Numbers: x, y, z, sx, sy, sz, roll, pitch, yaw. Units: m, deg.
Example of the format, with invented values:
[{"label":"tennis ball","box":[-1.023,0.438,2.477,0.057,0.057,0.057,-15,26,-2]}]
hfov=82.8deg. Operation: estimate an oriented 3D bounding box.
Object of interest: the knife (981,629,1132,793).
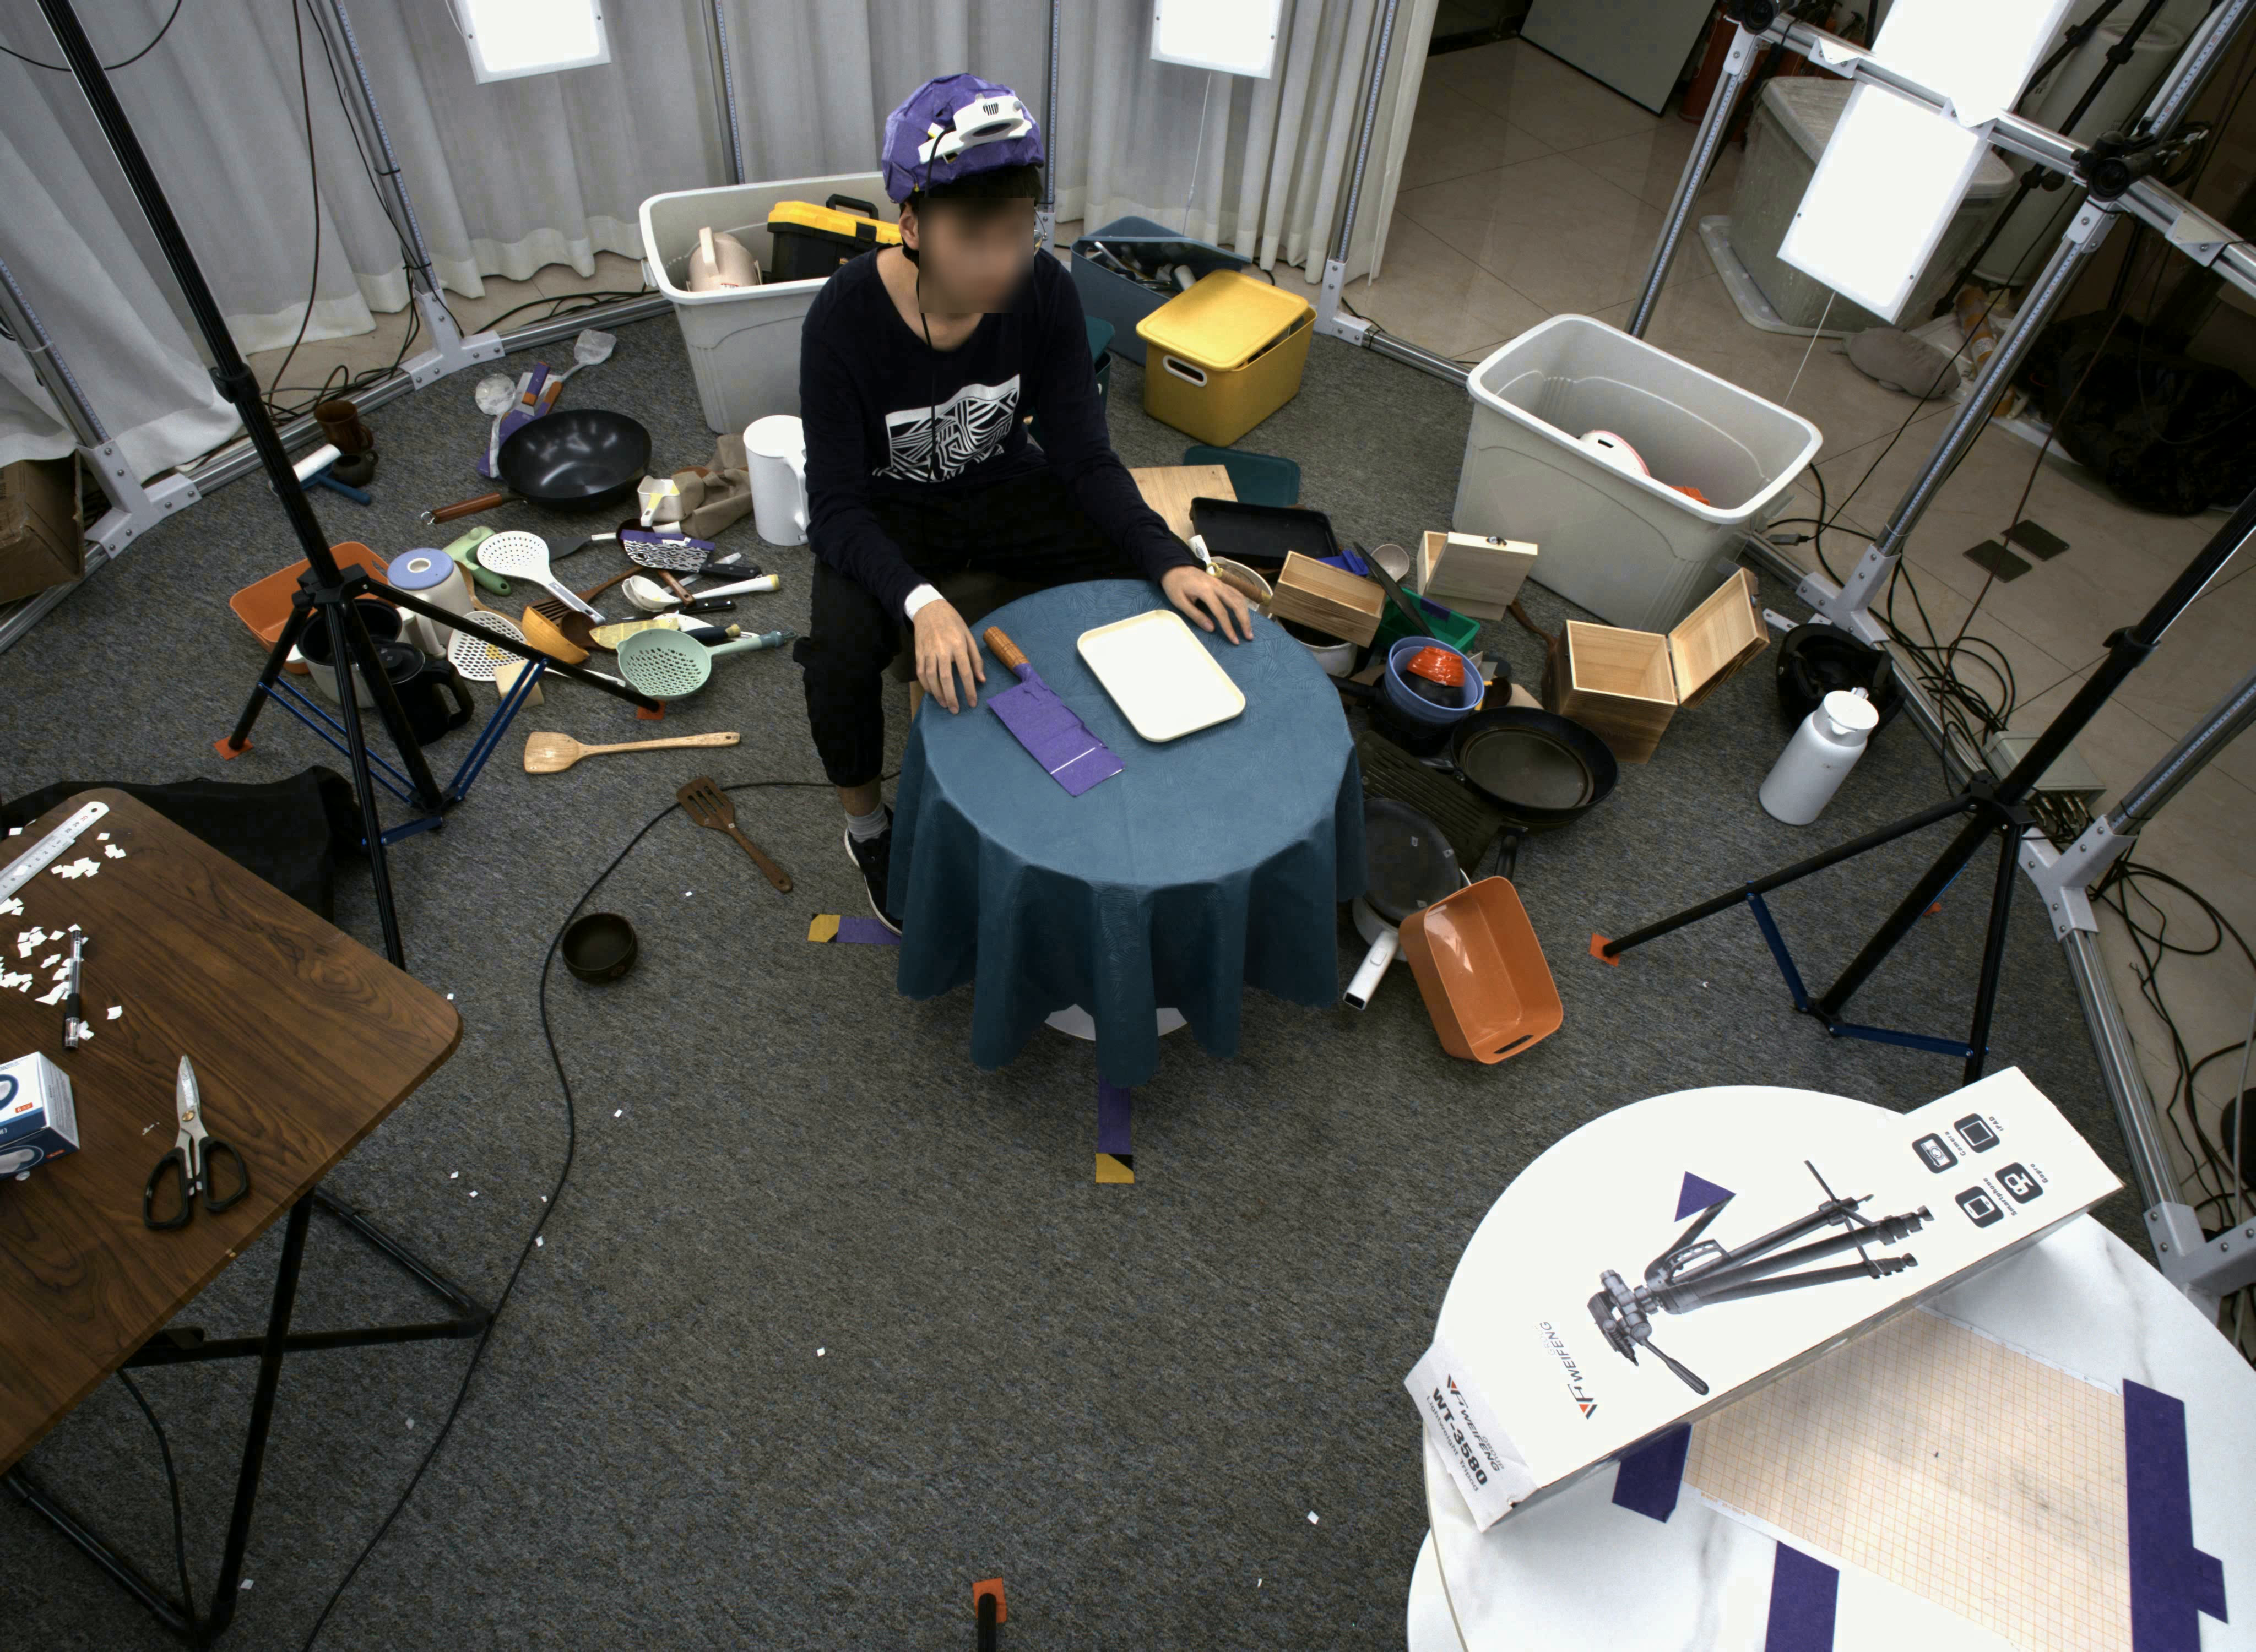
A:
[{"label":"knife","box":[-0.129,-0.164,1.783,0.104,0.031,0.321,-29,57,-26]}]

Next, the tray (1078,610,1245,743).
[{"label":"tray","box":[0.046,-0.217,1.847,0.171,0.017,0.245,-20,53,-19]}]
